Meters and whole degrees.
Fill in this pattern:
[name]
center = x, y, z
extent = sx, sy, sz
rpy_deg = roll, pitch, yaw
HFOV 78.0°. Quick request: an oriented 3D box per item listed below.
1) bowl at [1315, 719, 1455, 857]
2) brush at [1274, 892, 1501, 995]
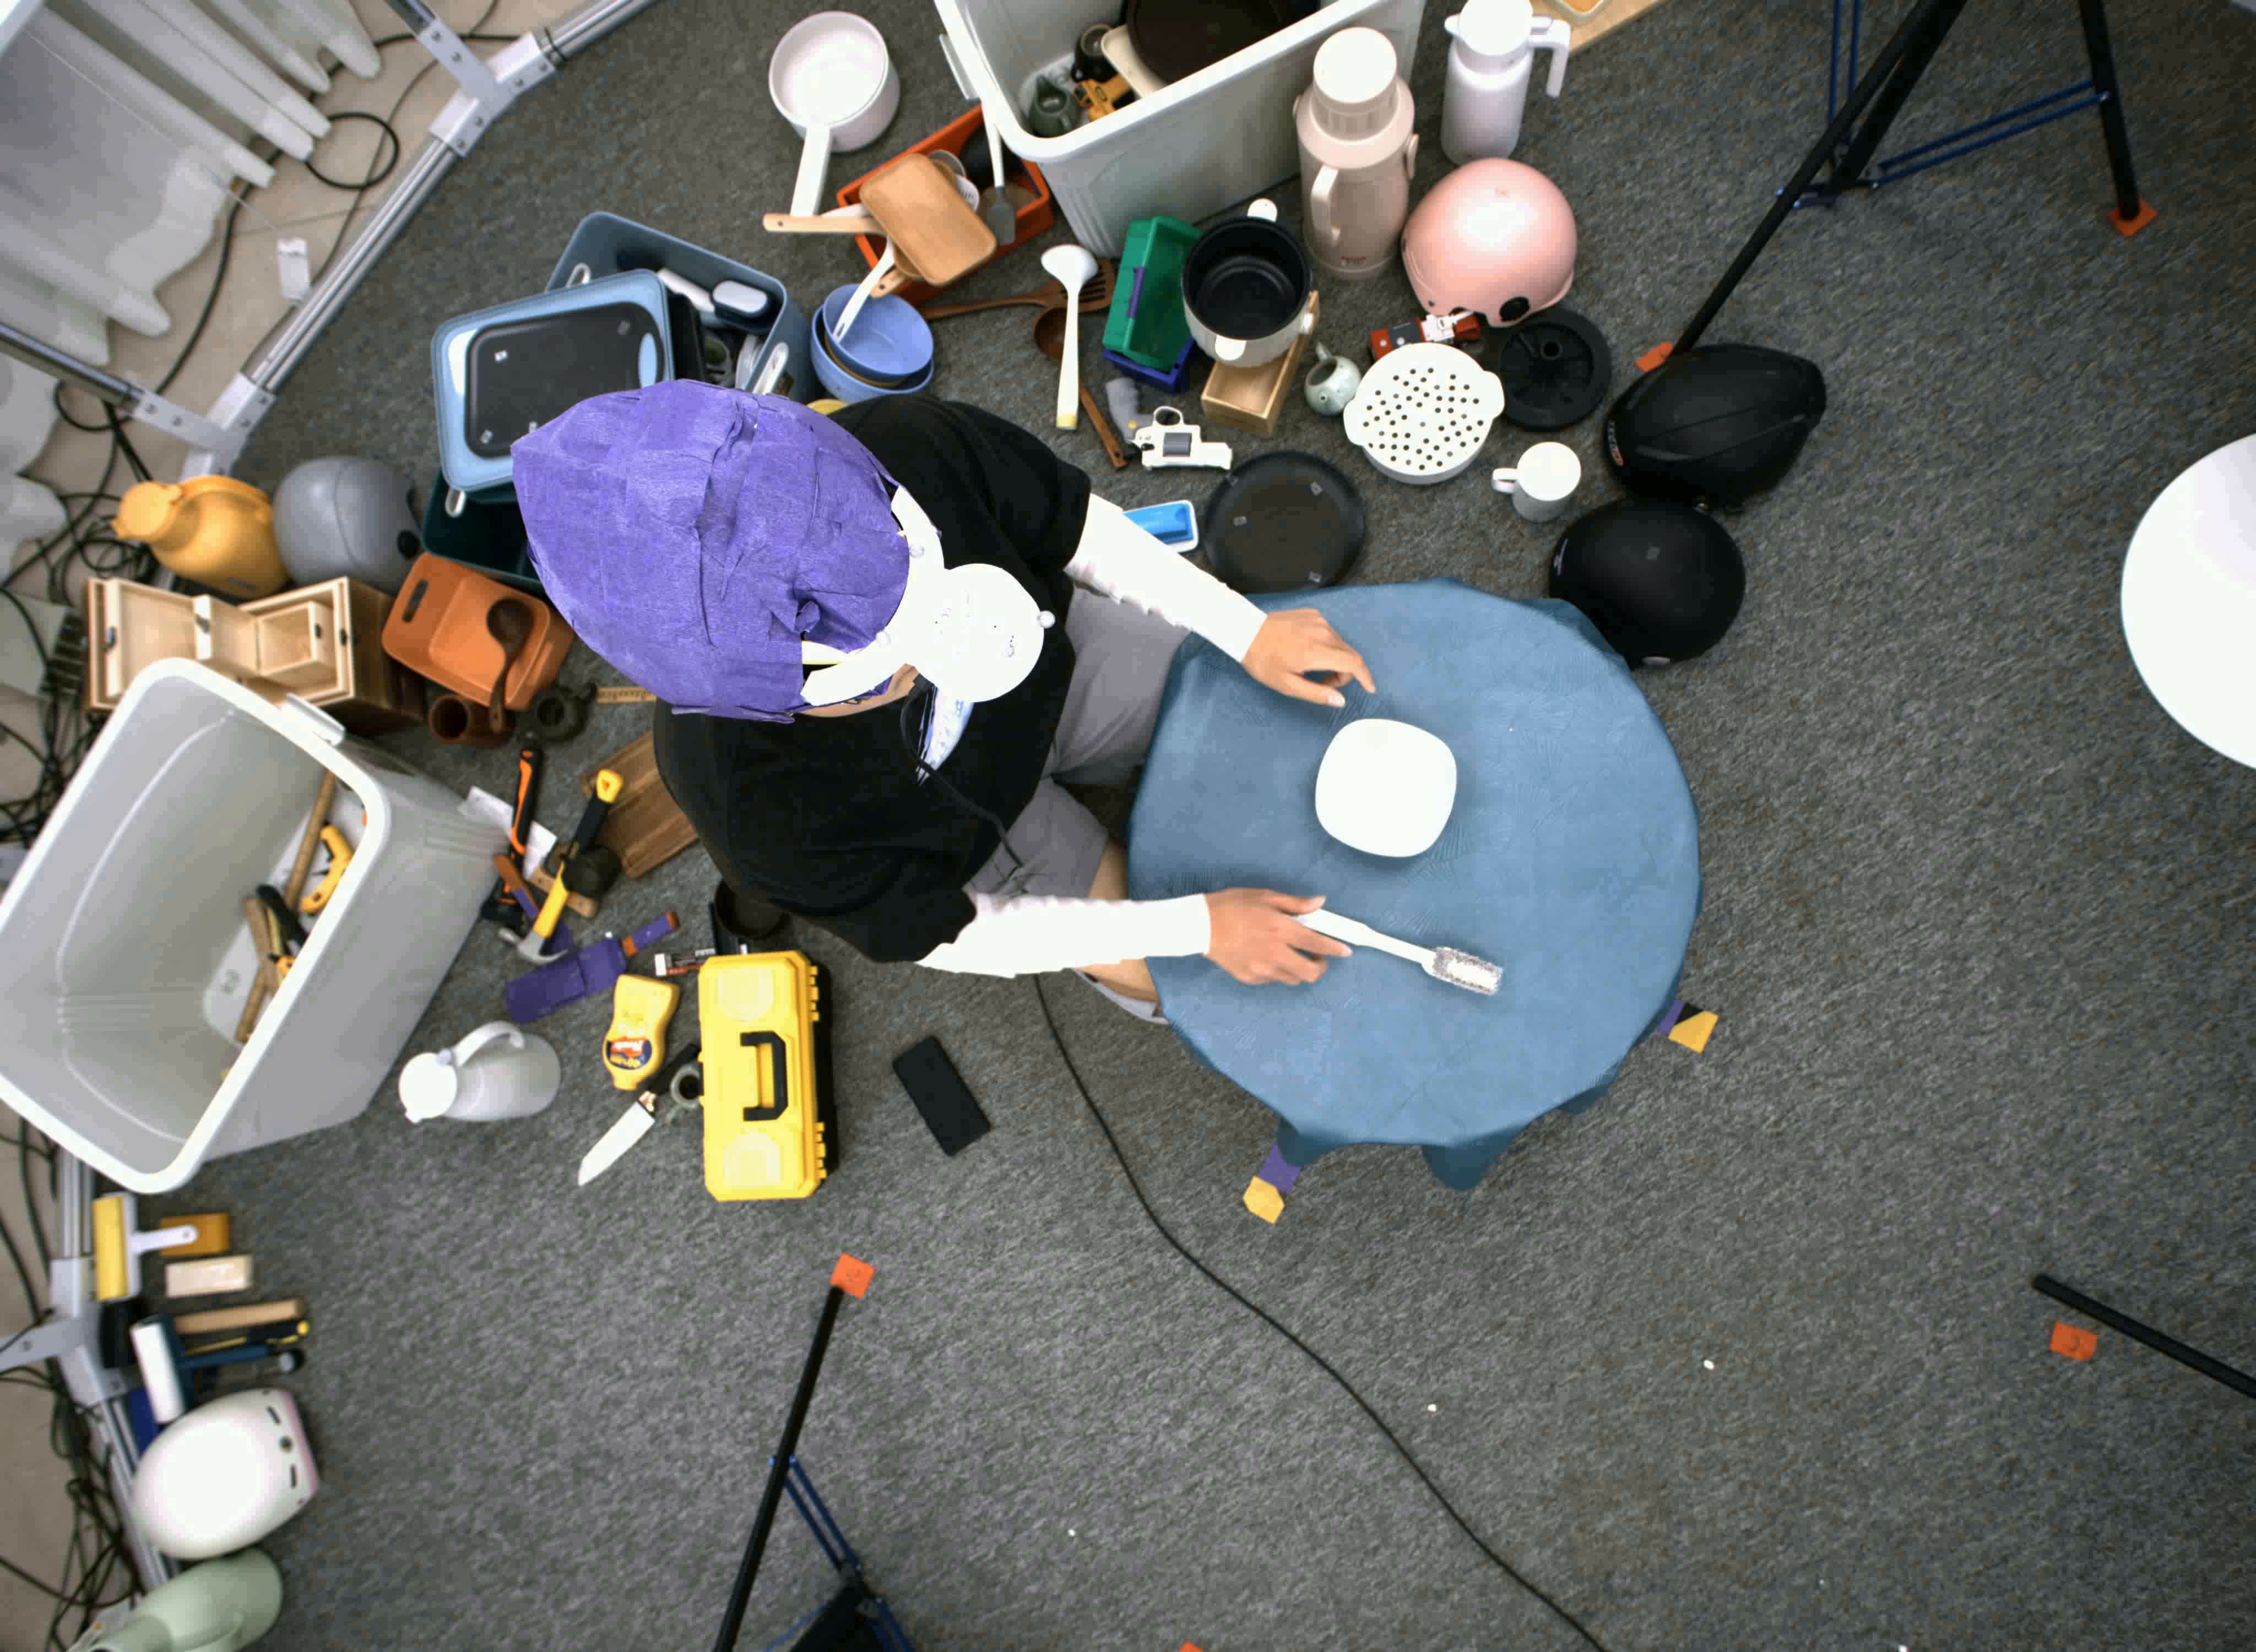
[bowl]
center = 0.266, -0.037, 1.434
extent = 0.152, 0.059, 0.150
rpy_deg = -1, 84, 8
[brush]
center = 0.265, 0.117, 1.431
extent = 0.243, 0.050, 0.034
rpy_deg = 21, 88, 10
